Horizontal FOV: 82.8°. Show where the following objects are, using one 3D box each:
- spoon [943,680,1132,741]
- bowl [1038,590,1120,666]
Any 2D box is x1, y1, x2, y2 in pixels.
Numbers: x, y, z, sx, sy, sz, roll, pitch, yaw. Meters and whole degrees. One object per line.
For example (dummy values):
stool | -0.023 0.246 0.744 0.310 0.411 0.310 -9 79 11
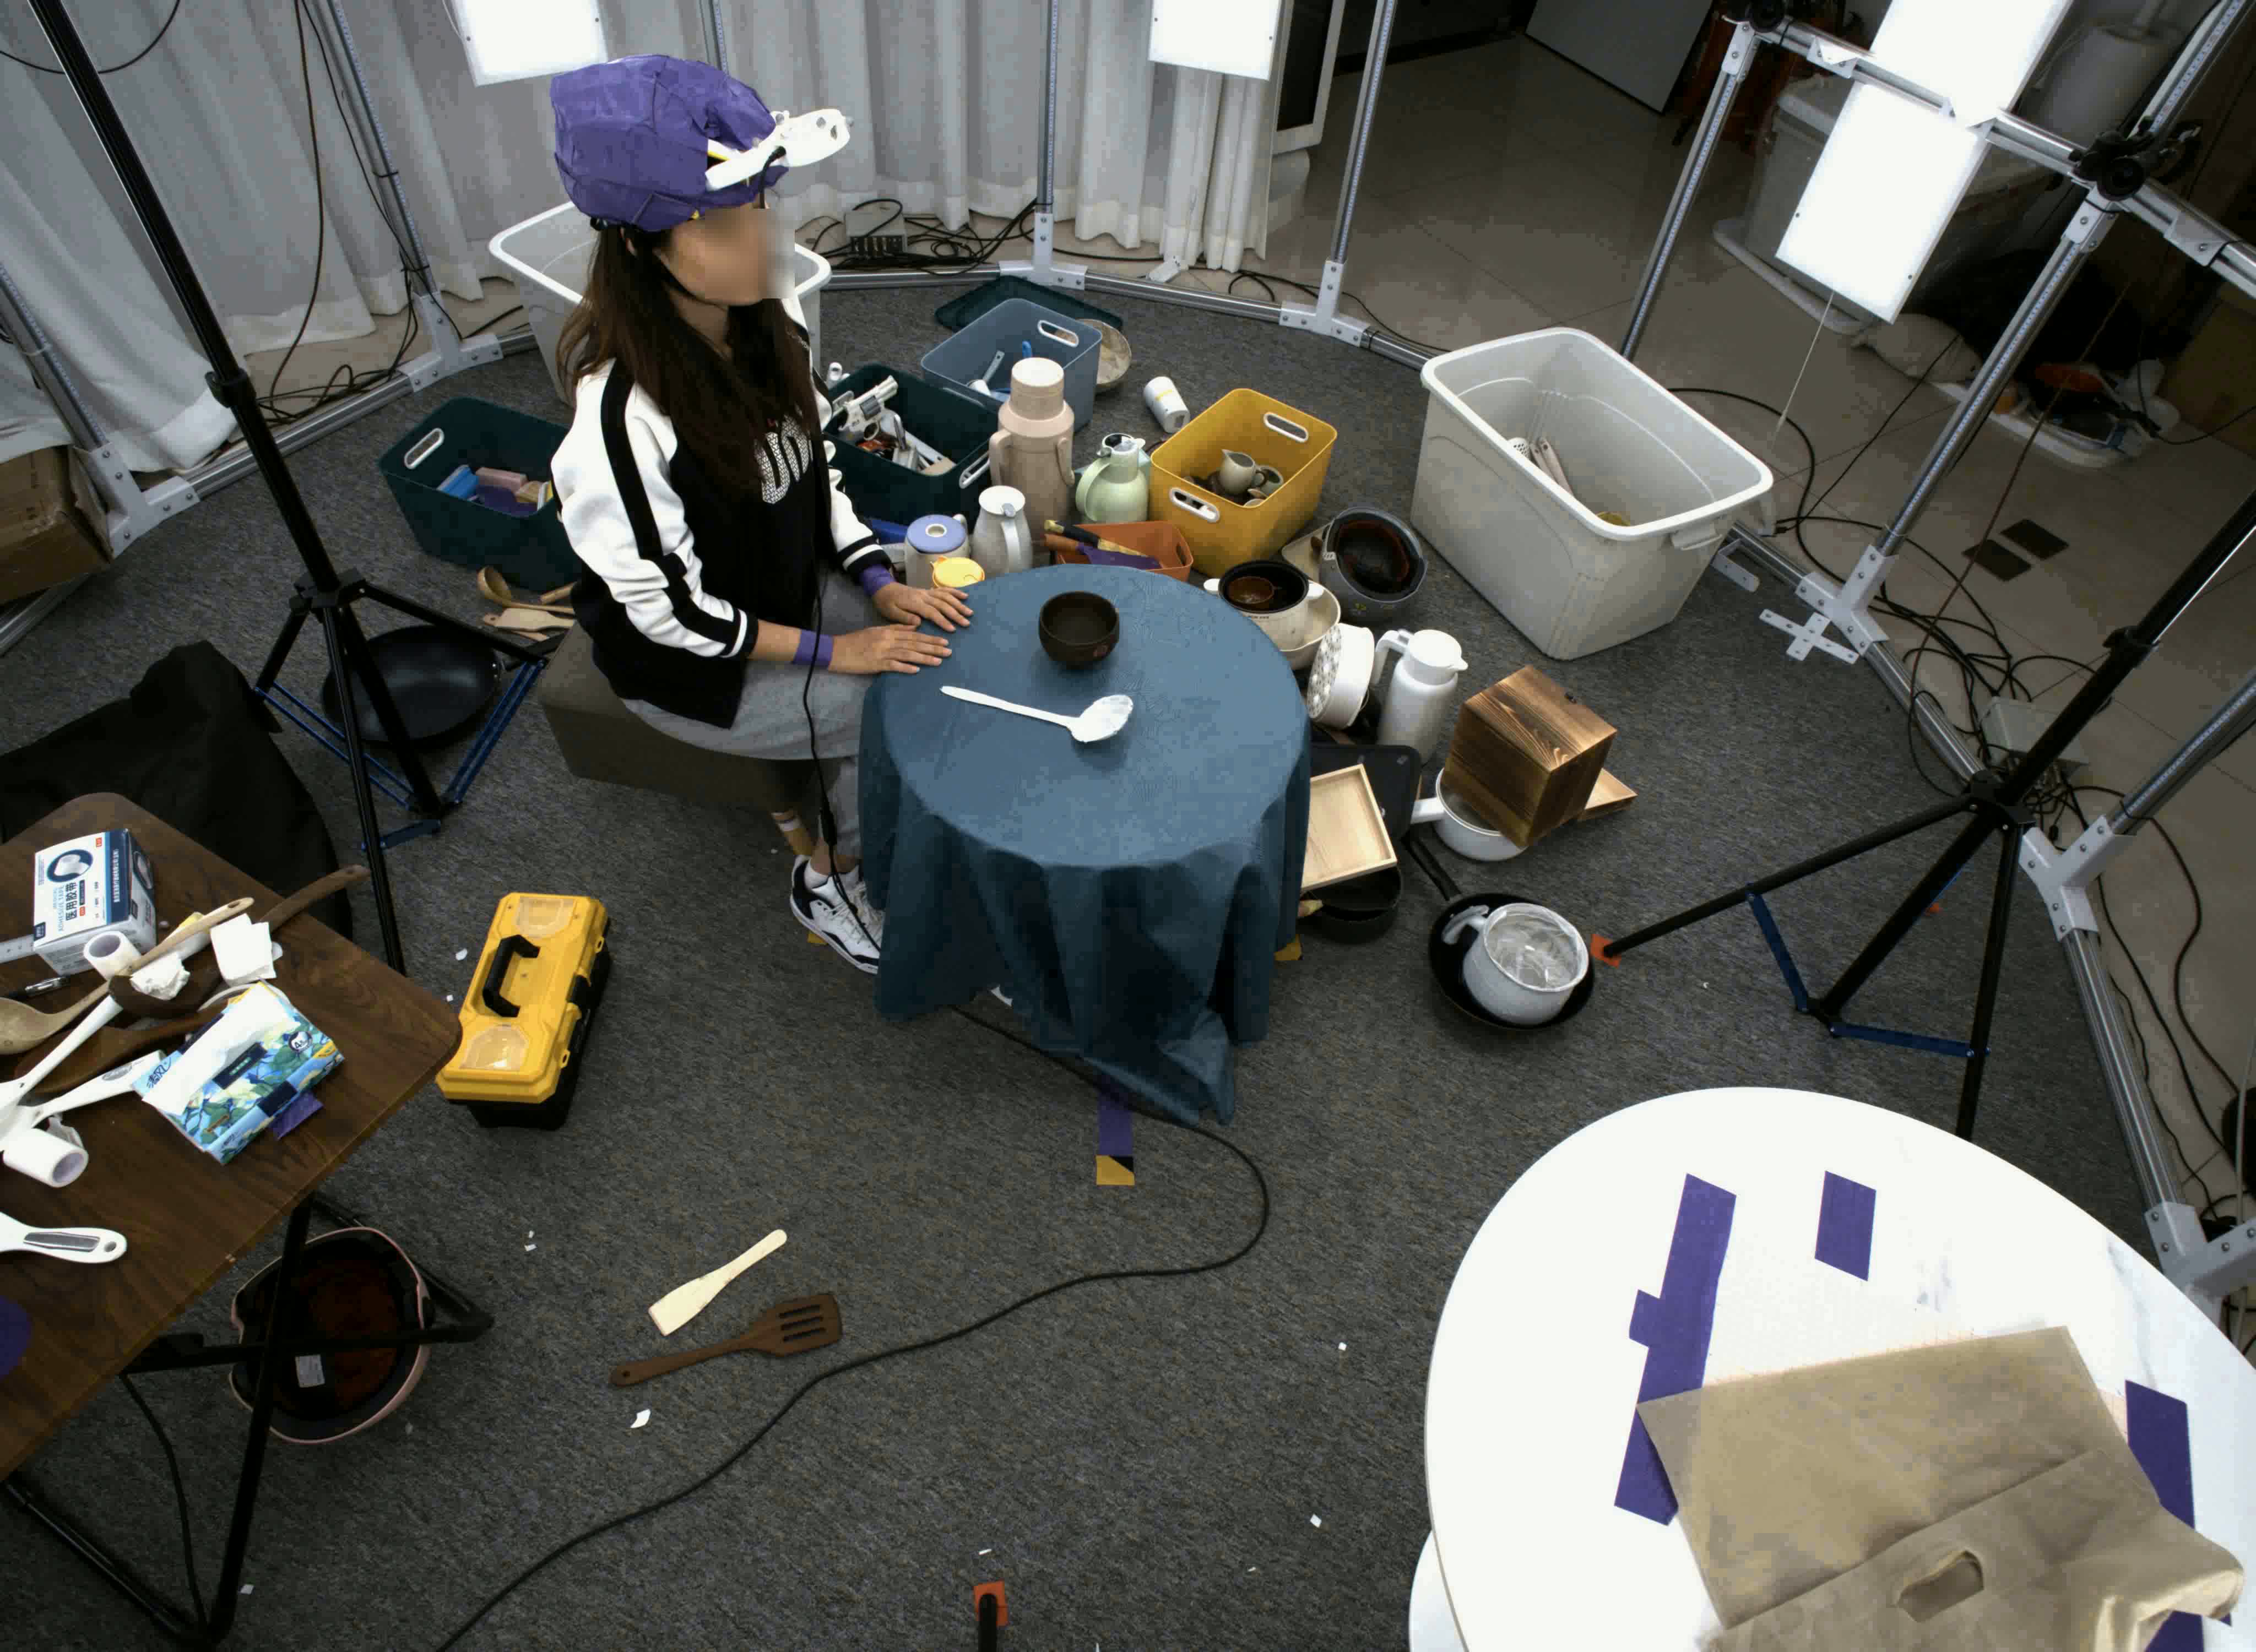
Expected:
spoon | -0.128 -0.181 1.781 0.278 0.058 0.102 18 47 11
bowl | -0.072 -0.278 1.858 0.118 0.068 0.121 2 49 -3
